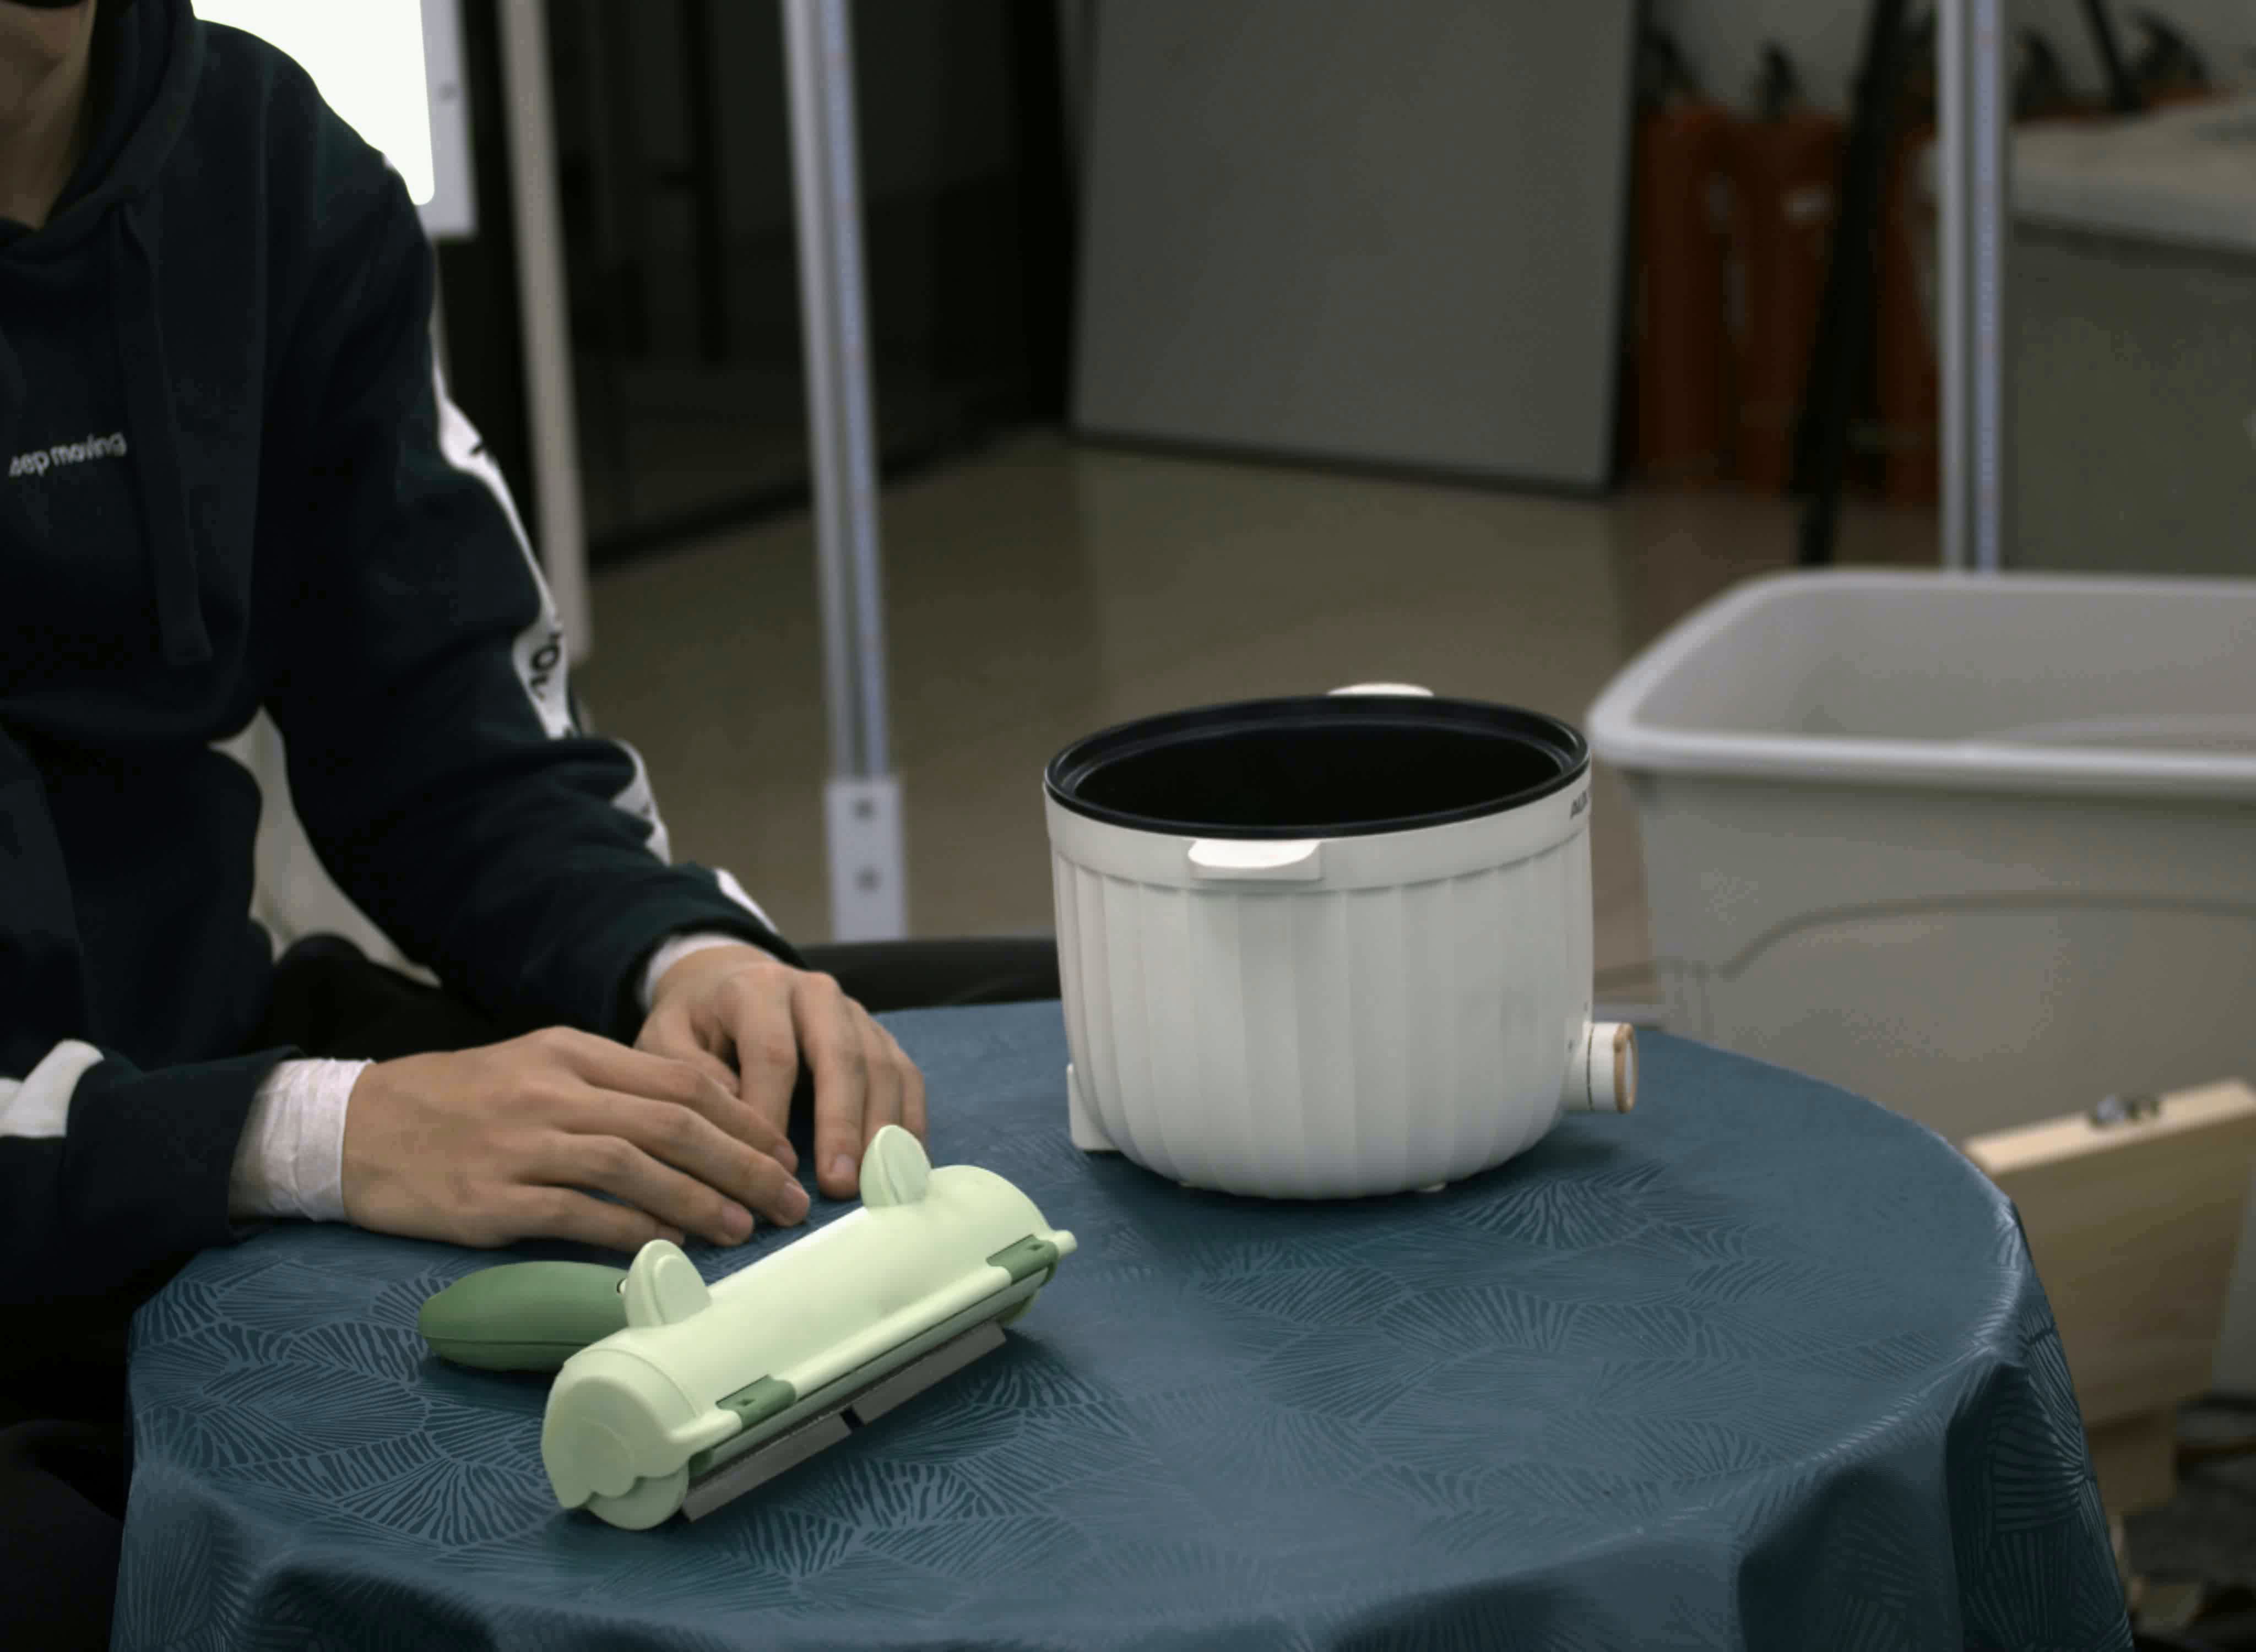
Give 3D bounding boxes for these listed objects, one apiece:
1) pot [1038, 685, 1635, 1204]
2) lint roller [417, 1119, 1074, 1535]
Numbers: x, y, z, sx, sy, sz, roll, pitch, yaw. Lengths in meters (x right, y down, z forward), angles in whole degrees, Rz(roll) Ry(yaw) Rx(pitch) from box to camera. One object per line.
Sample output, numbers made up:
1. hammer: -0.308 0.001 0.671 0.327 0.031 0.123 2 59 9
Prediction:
1. pot: 0.070 0.041 1.785 0.190 0.144 0.239 -4 14 15
2. lint roller: -0.140 0.134 1.602 0.184 0.083 0.195 11 20 32
